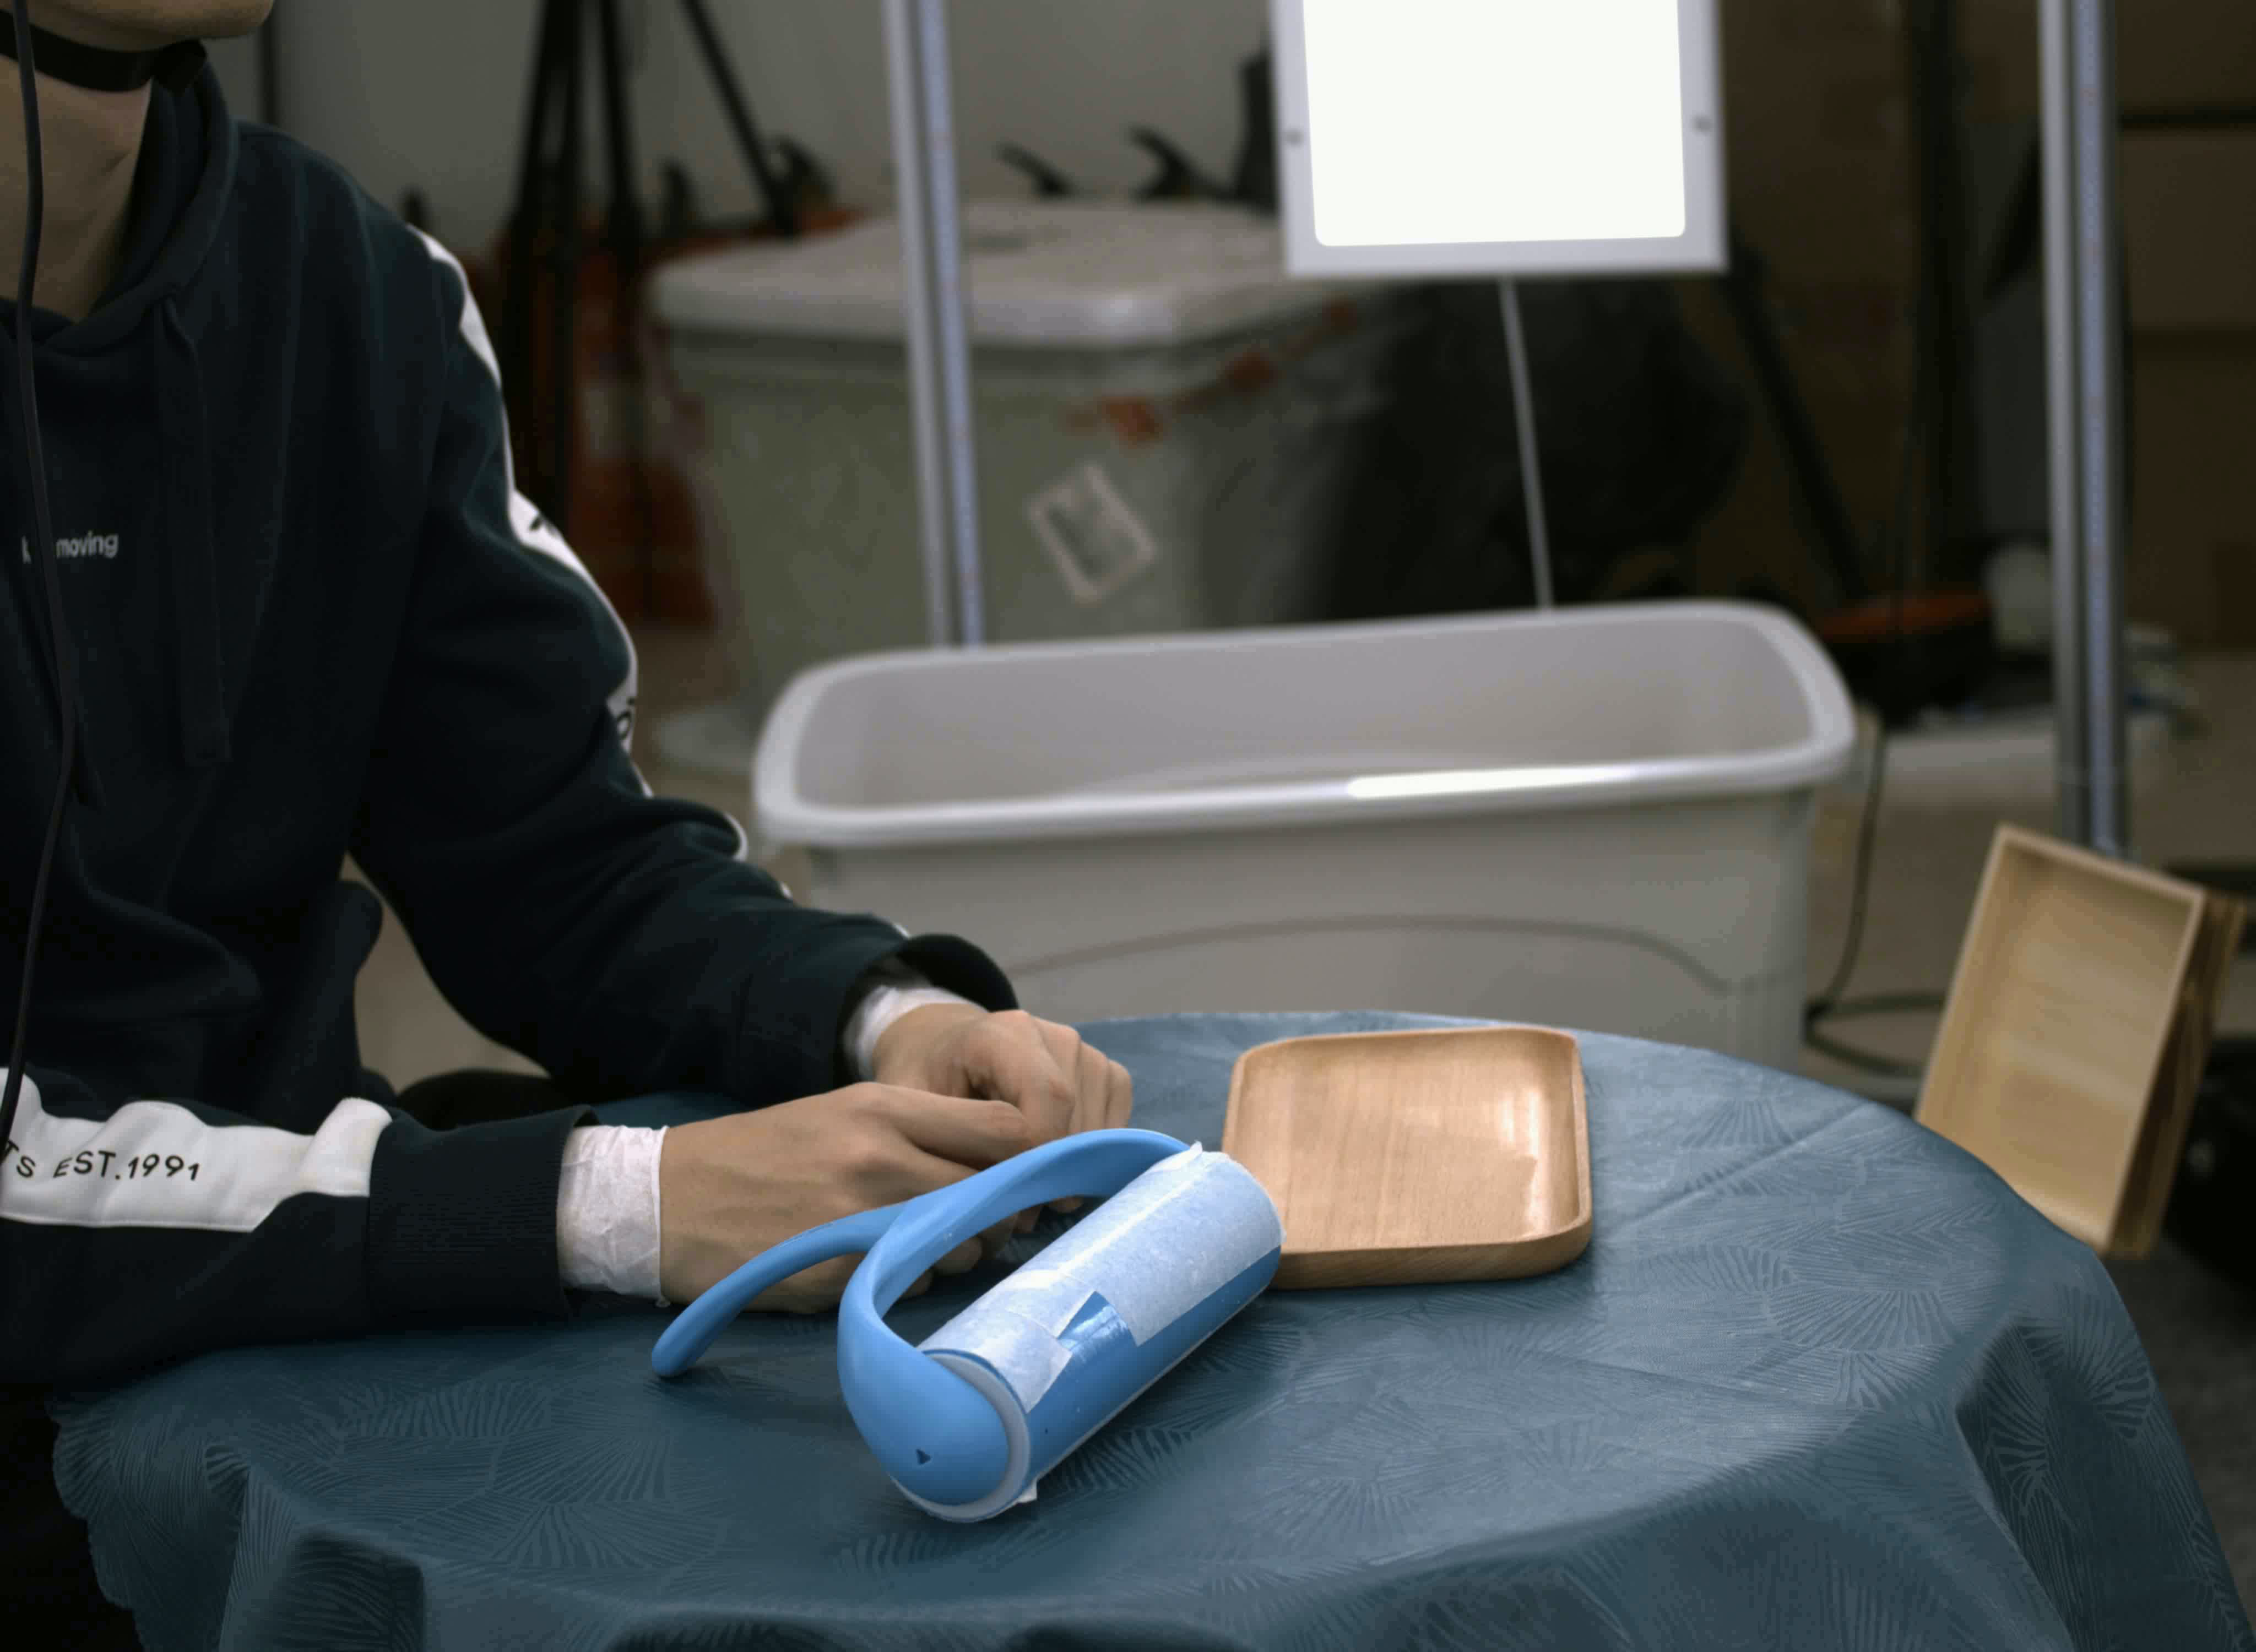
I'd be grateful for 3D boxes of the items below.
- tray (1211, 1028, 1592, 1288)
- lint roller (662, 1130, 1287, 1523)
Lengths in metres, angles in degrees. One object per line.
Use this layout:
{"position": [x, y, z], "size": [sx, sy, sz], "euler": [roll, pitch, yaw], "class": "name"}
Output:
{"position": [0.094, 0.112, 1.885], "size": [0.131, 0.023, 0.249], "euler": [-6, 14, 7], "class": "tray"}
{"position": [-0.066, 0.150, 1.703], "size": [0.183, 0.068, 0.224], "euler": [1, 17, 23], "class": "lint roller"}
